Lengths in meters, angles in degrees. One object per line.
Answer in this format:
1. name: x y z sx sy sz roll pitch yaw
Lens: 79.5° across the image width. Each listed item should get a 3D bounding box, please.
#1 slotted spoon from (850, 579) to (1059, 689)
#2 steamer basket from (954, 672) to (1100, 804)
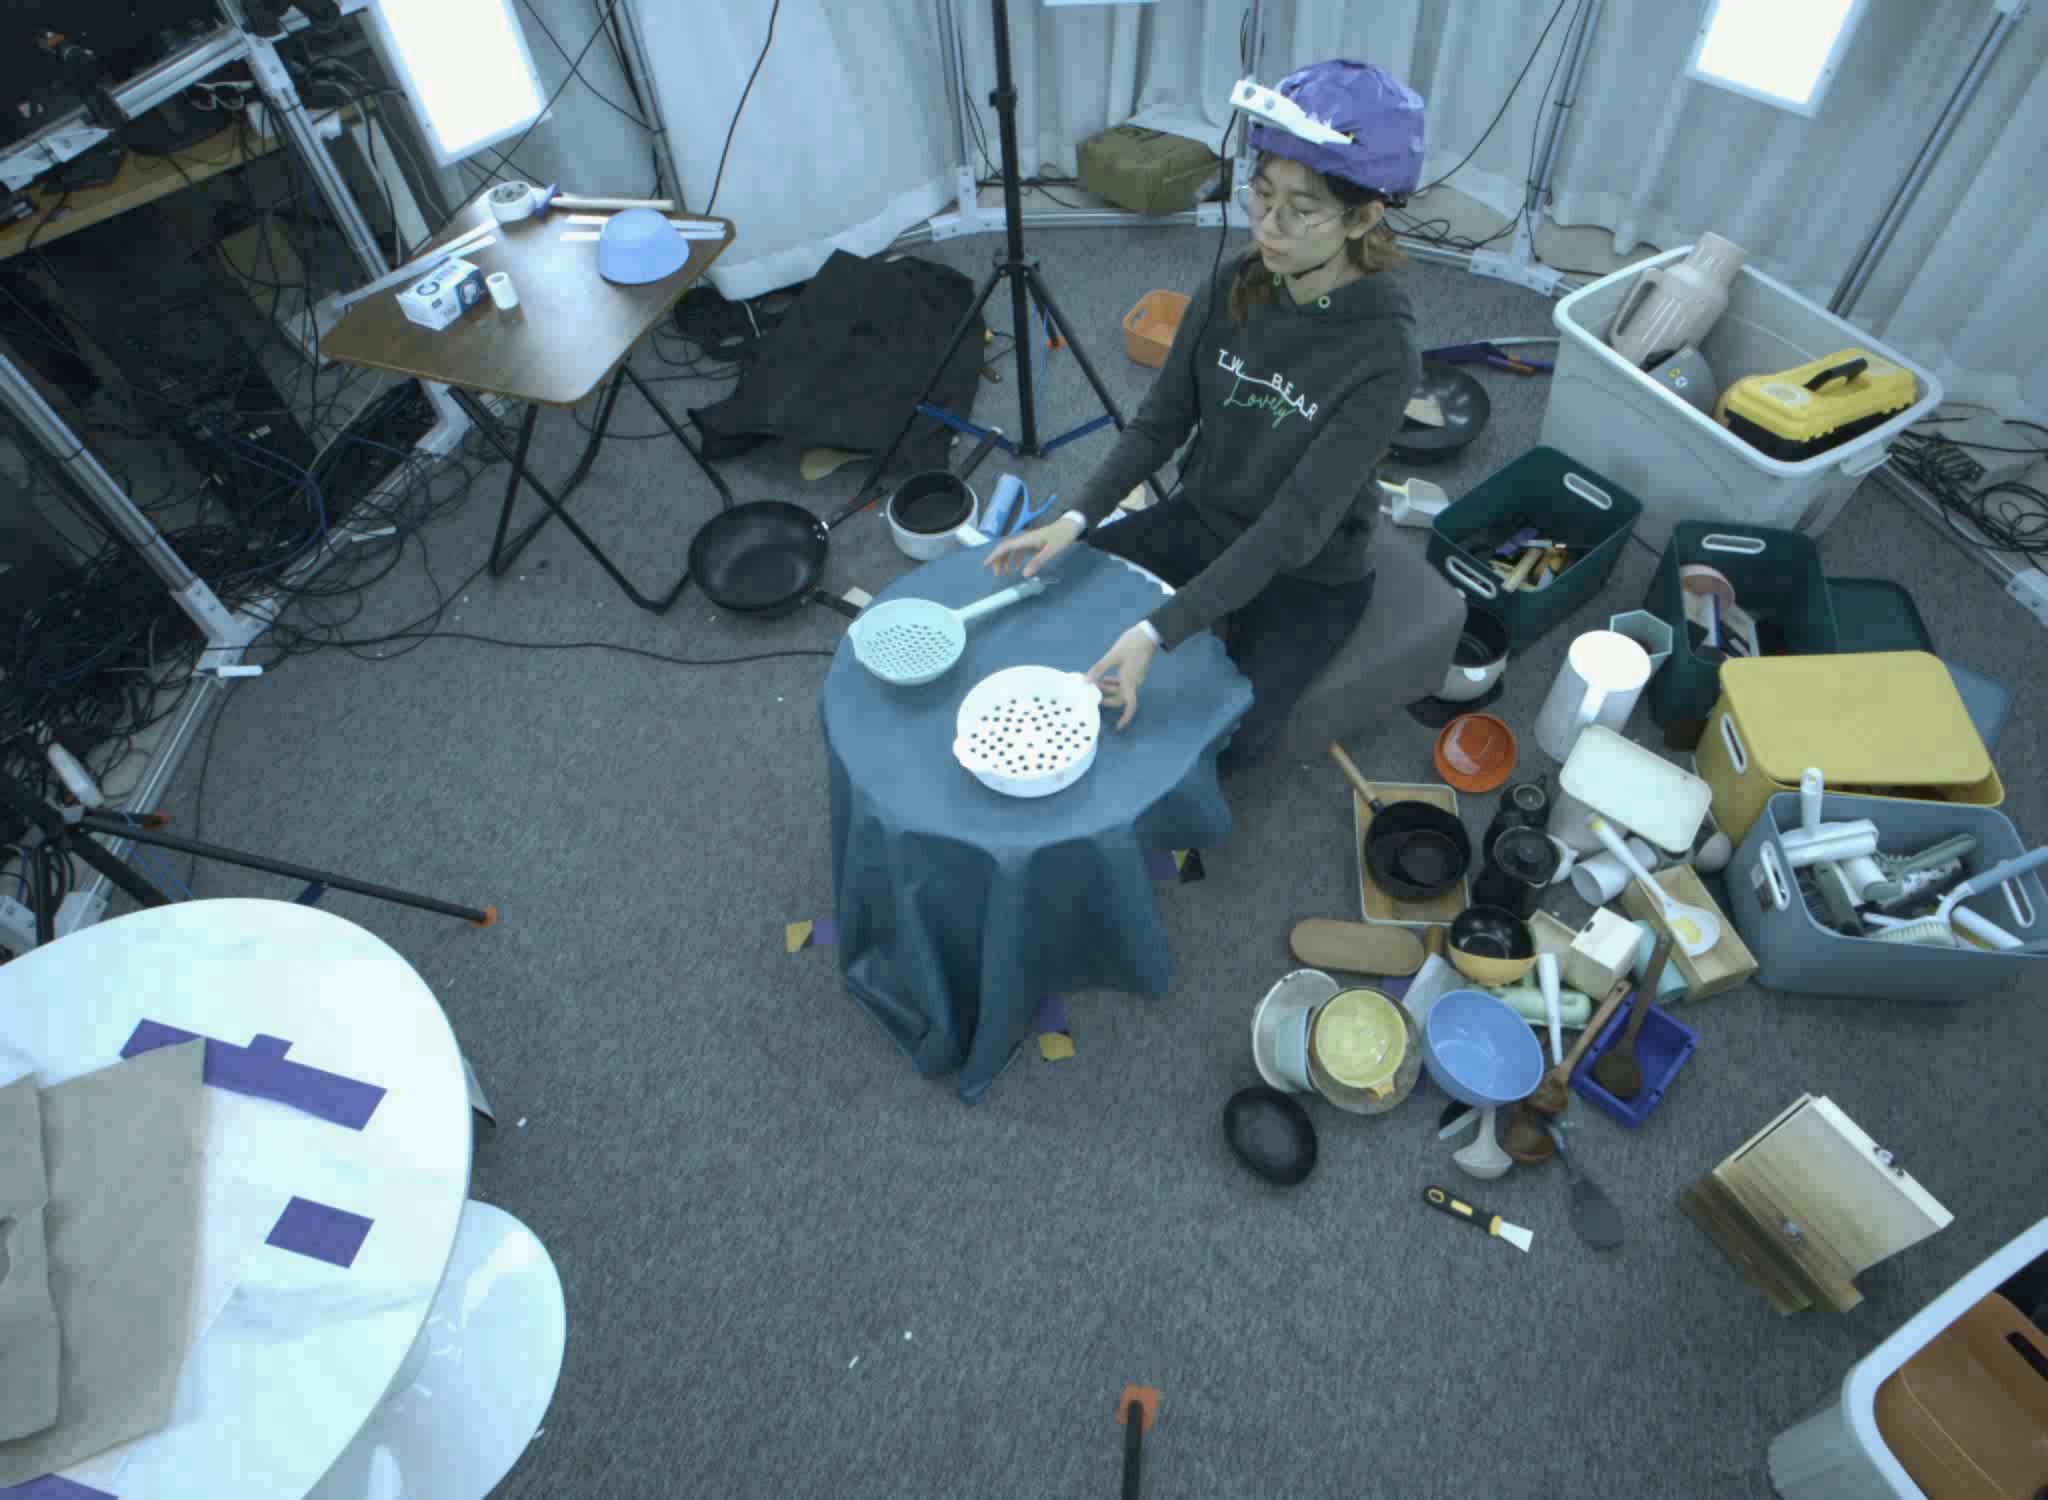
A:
1. slotted spoon: -0.093 -0.199 1.901 0.362 0.076 0.166 -32 60 -19
2. steamer basket: 0.007 -0.016 1.770 0.232 0.070 0.198 -32 61 -20
